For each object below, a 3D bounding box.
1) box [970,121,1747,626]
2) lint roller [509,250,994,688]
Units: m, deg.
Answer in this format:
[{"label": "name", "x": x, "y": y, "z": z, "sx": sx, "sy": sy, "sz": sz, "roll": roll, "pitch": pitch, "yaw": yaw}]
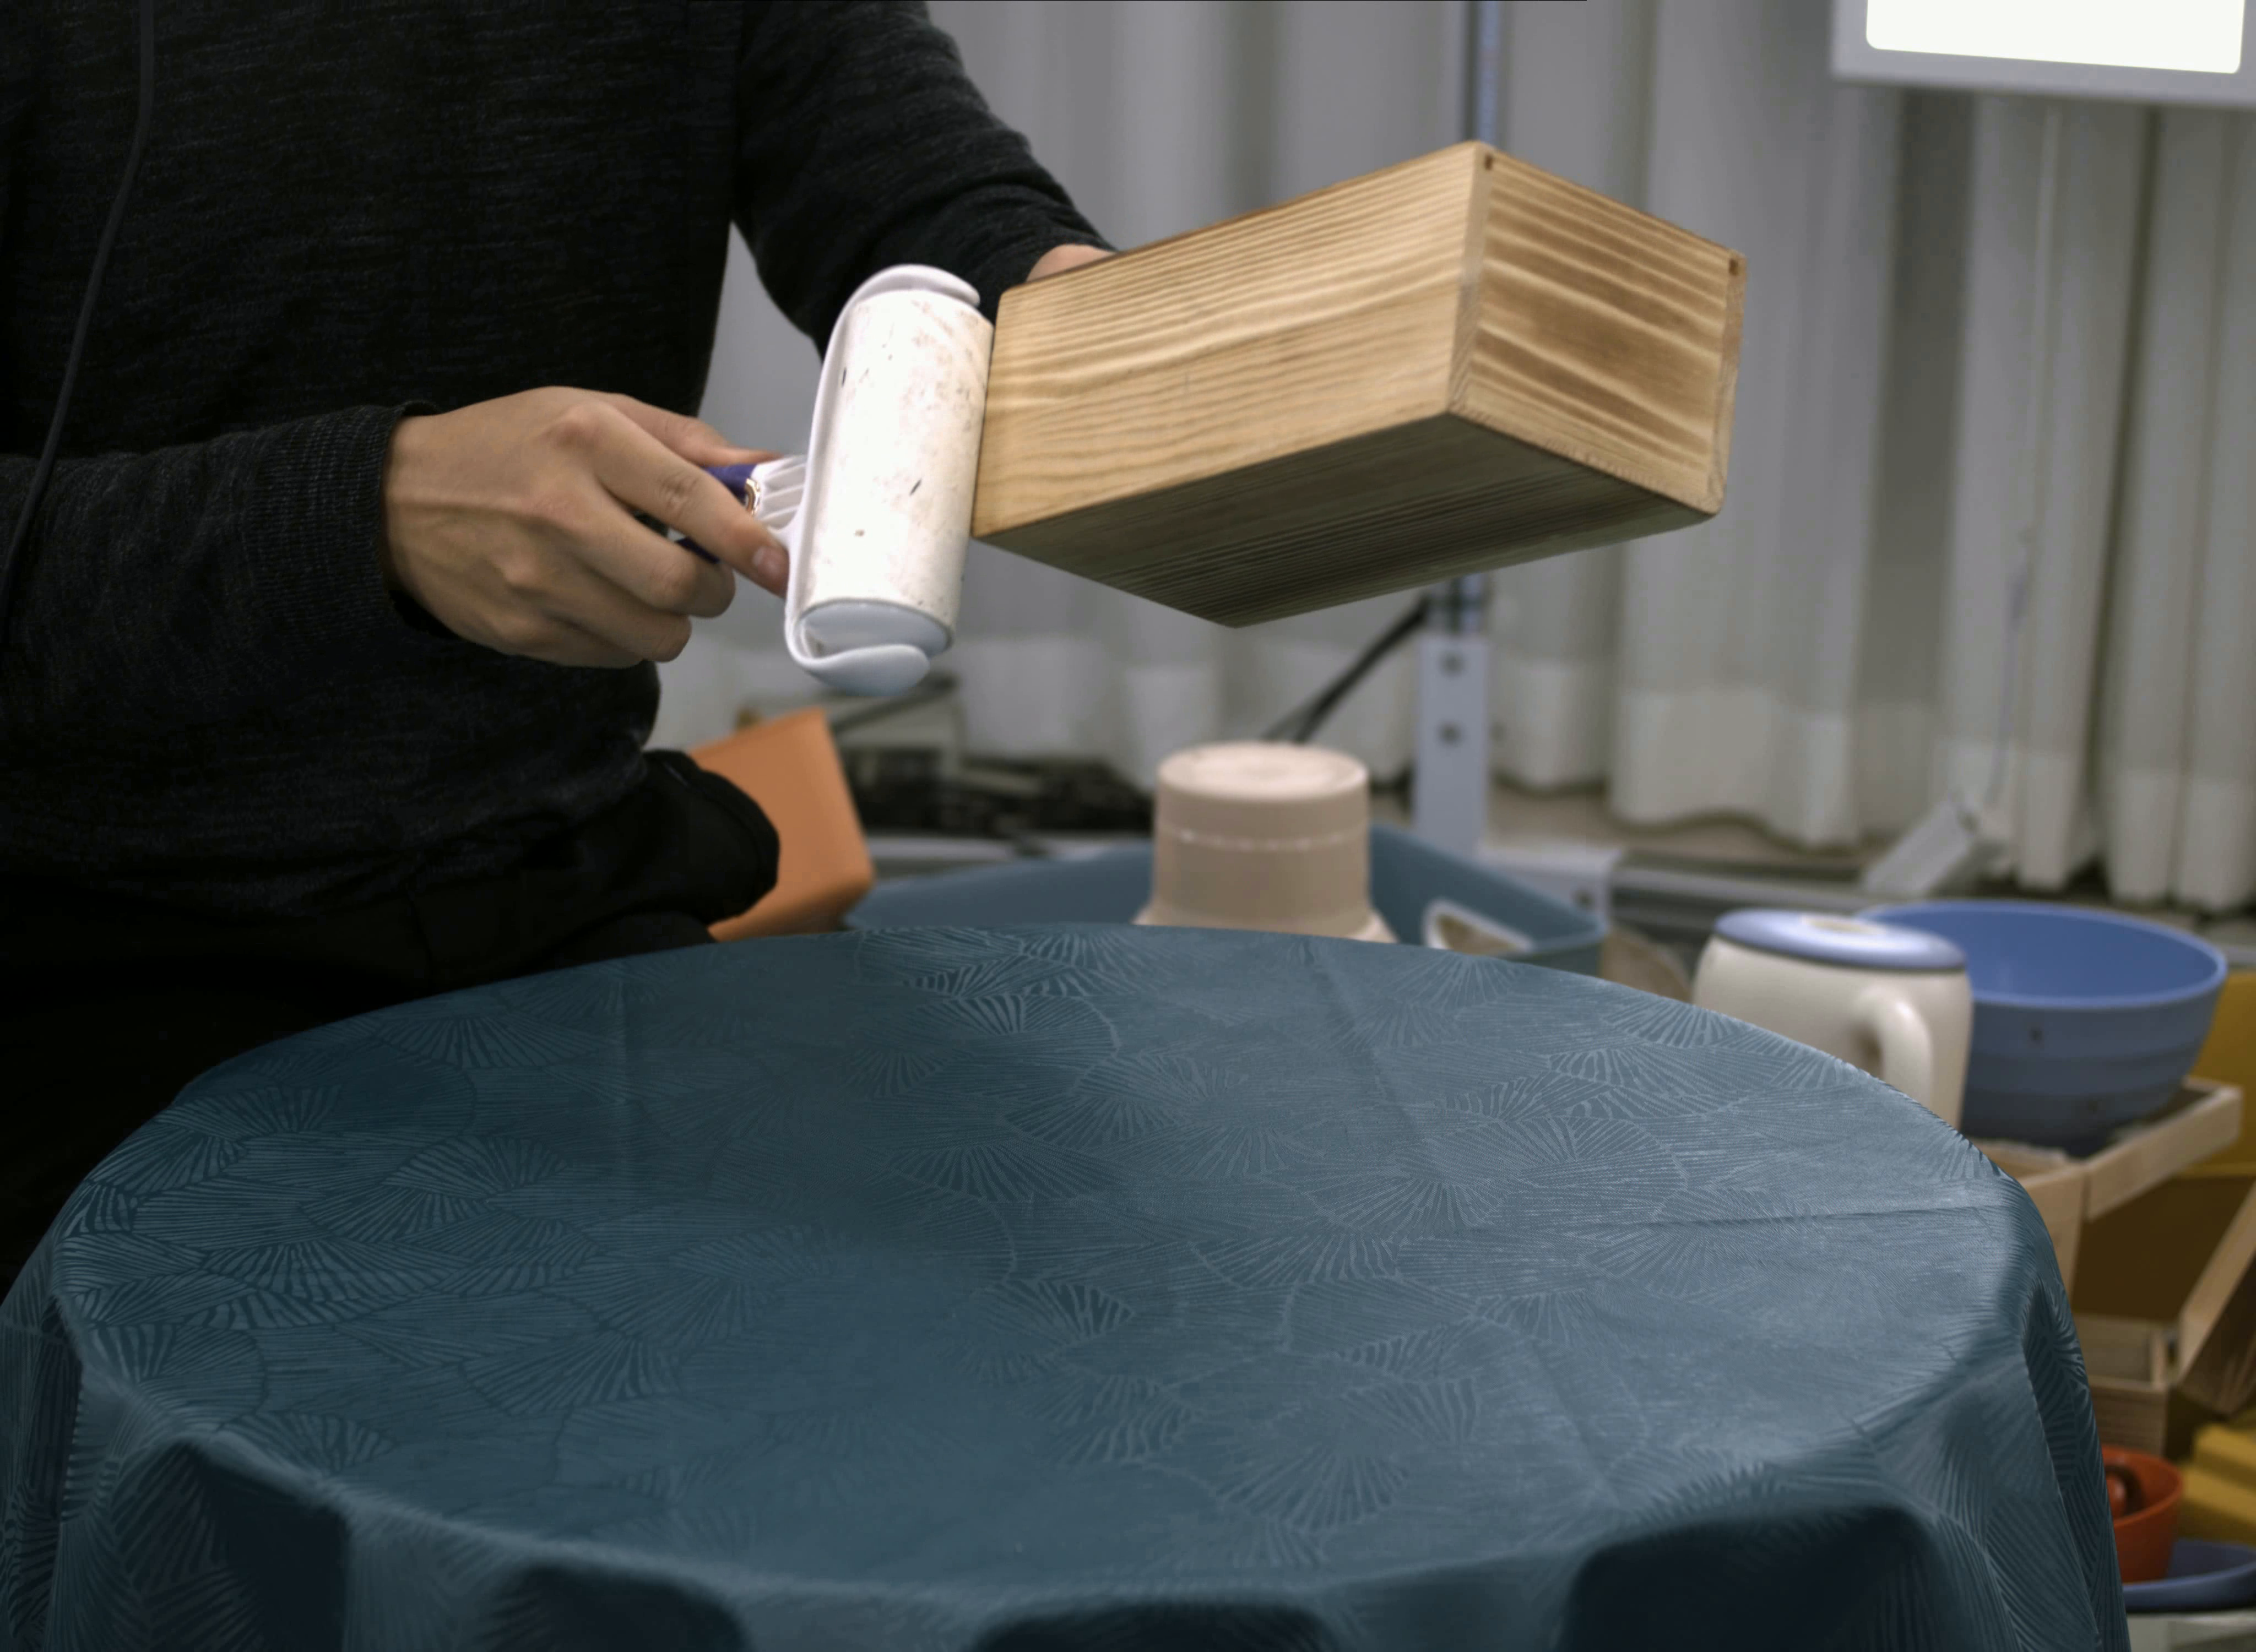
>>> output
[{"label": "box", "x": 0.063, "y": -0.125, "z": 1.512, "sx": 0.108, "sy": 0.080, "sz": 0.209, "roll": 18, "pitch": -19, "yaw": -37}, {"label": "lint roller", "x": -0.124, "y": -0.102, "z": 1.588, "sx": 0.179, "sy": 0.132, "sz": 0.051, "roll": -3, "pitch": -20, "yaw": 30}]
